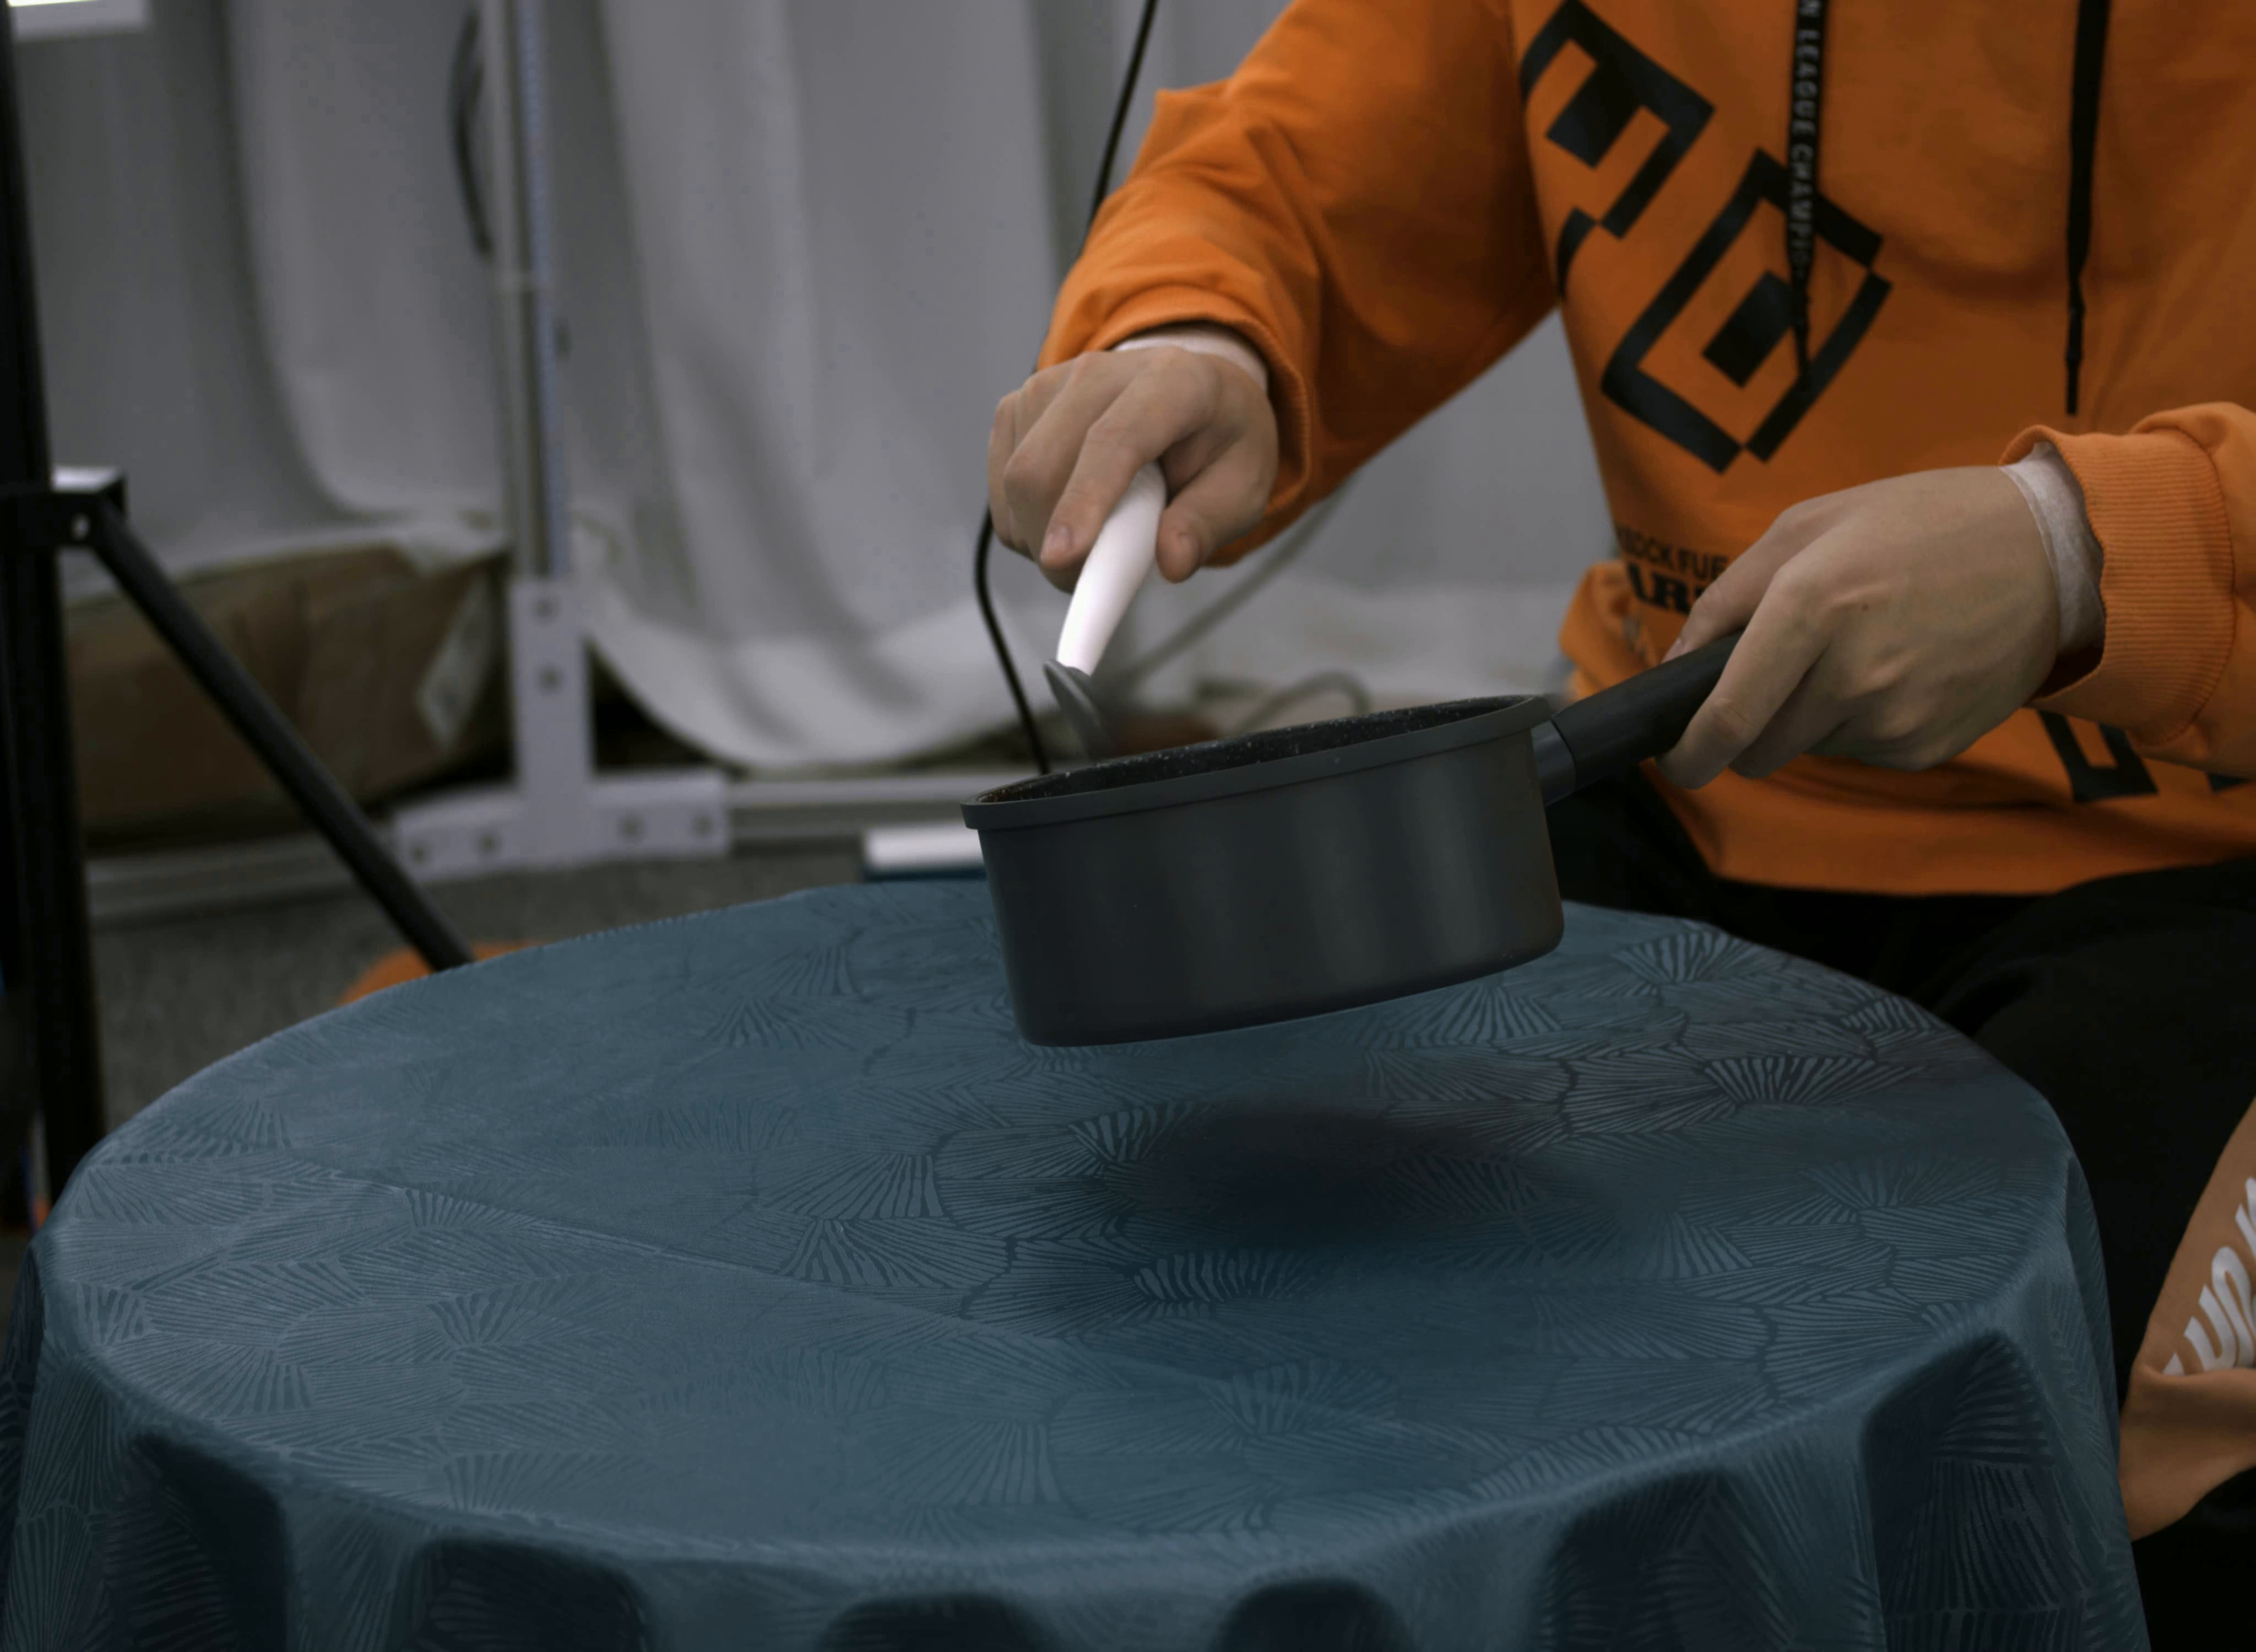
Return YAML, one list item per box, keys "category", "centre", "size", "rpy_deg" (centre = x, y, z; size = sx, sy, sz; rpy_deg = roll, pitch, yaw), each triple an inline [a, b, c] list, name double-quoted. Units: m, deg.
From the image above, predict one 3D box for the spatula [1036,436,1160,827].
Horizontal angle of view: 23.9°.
- category: "spatula"
  centre: [-0.008, -0.061, 1.618]
  size: [0.032, 0.058, 0.289]
  rpy_deg: [-26, 18, 11]

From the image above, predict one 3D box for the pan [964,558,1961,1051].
- category: "pan"
  centre: [0.111, -0.005, 1.578]
  size: [0.322, 0.087, 0.175]
  rpy_deg: [-14, 5, -23]
